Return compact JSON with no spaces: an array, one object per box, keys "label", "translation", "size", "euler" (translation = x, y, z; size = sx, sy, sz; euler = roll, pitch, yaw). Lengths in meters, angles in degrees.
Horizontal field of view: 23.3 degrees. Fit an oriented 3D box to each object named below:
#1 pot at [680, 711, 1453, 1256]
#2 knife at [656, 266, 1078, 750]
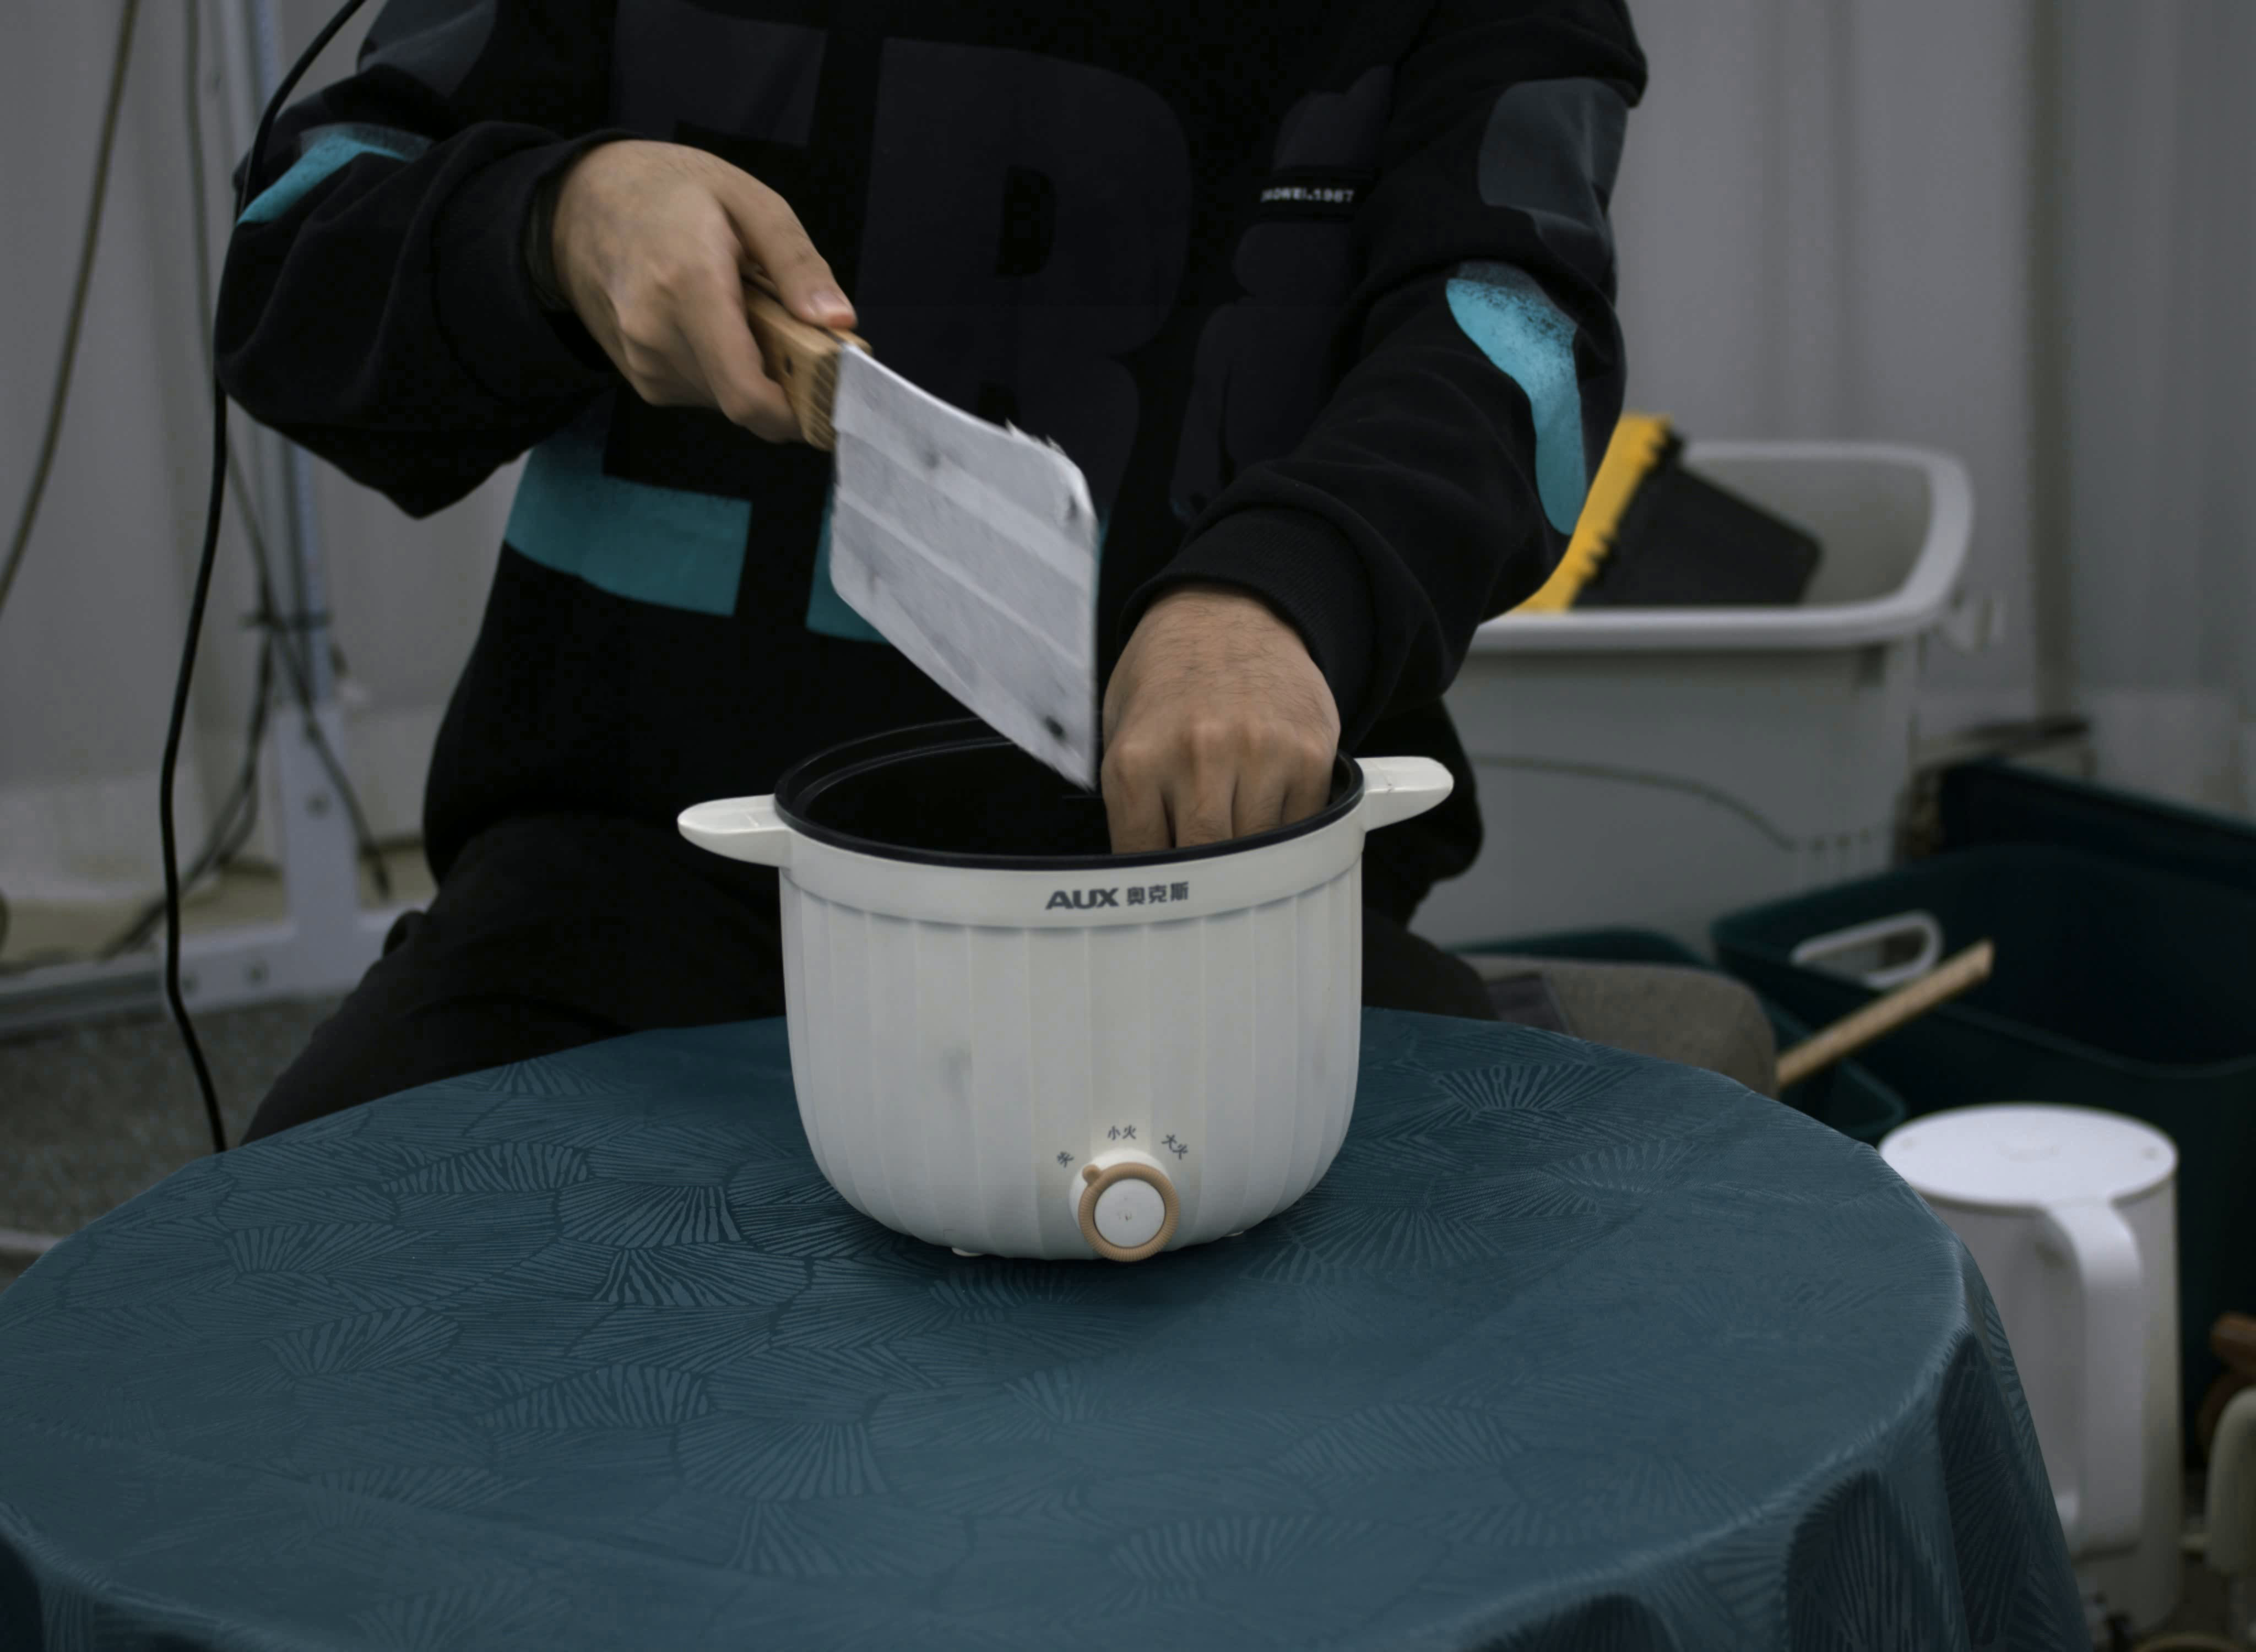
[{"label":"pot","translation":[-0.014,0.051,1.684],"size":[0.239,0.142,0.191],"euler":[-5,11,-8]},{"label":"knife","translation":[-0.082,-0.118,1.735],"size":[0.021,0.113,0.319],"euler":[-7,26,-25]}]
